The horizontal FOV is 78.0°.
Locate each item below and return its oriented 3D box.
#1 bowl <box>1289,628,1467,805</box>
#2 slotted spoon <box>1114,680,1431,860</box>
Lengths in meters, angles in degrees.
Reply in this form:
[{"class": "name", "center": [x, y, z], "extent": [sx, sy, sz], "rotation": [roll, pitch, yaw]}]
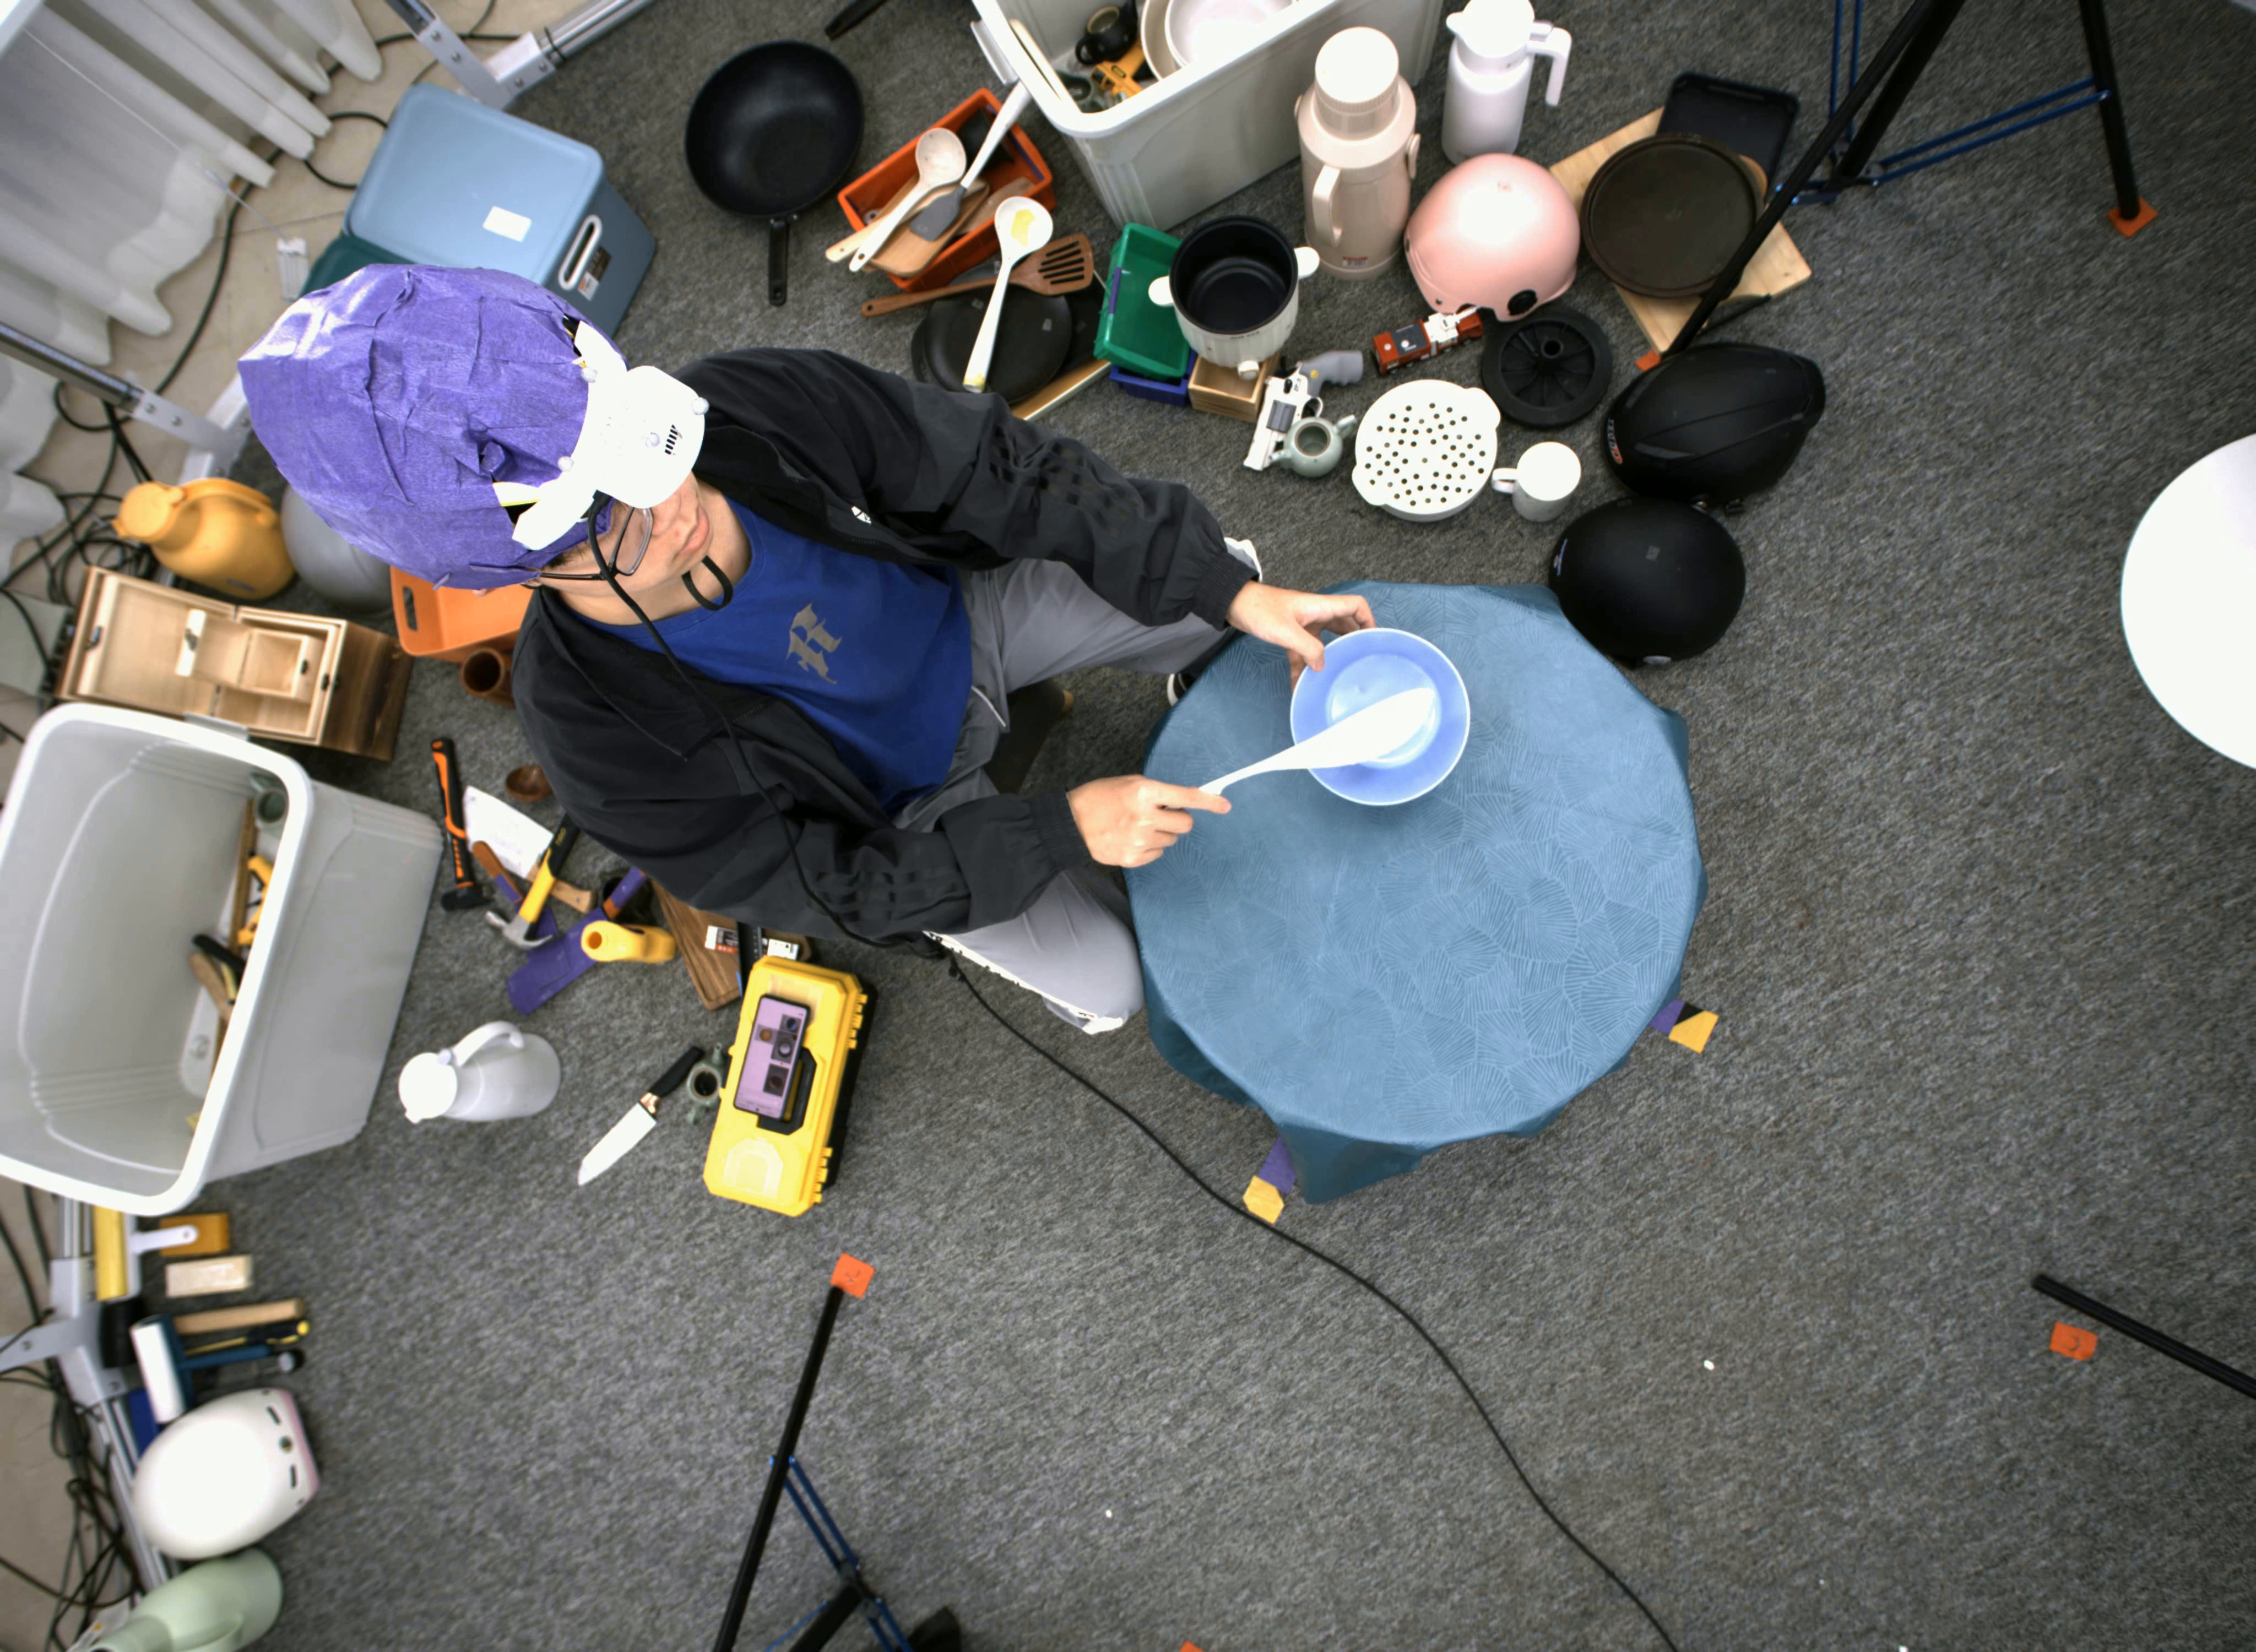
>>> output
[{"class": "bowl", "center": [0.253, -0.114, 1.383], "extent": [0.177, 0.069, 0.178], "rotation": [4, 104, 16]}, {"class": "slotted spoon", "center": [0.138, -0.054, 1.346], "extent": [0.350, 0.136, 0.050], "rotation": [-22, 87, 10]}]
